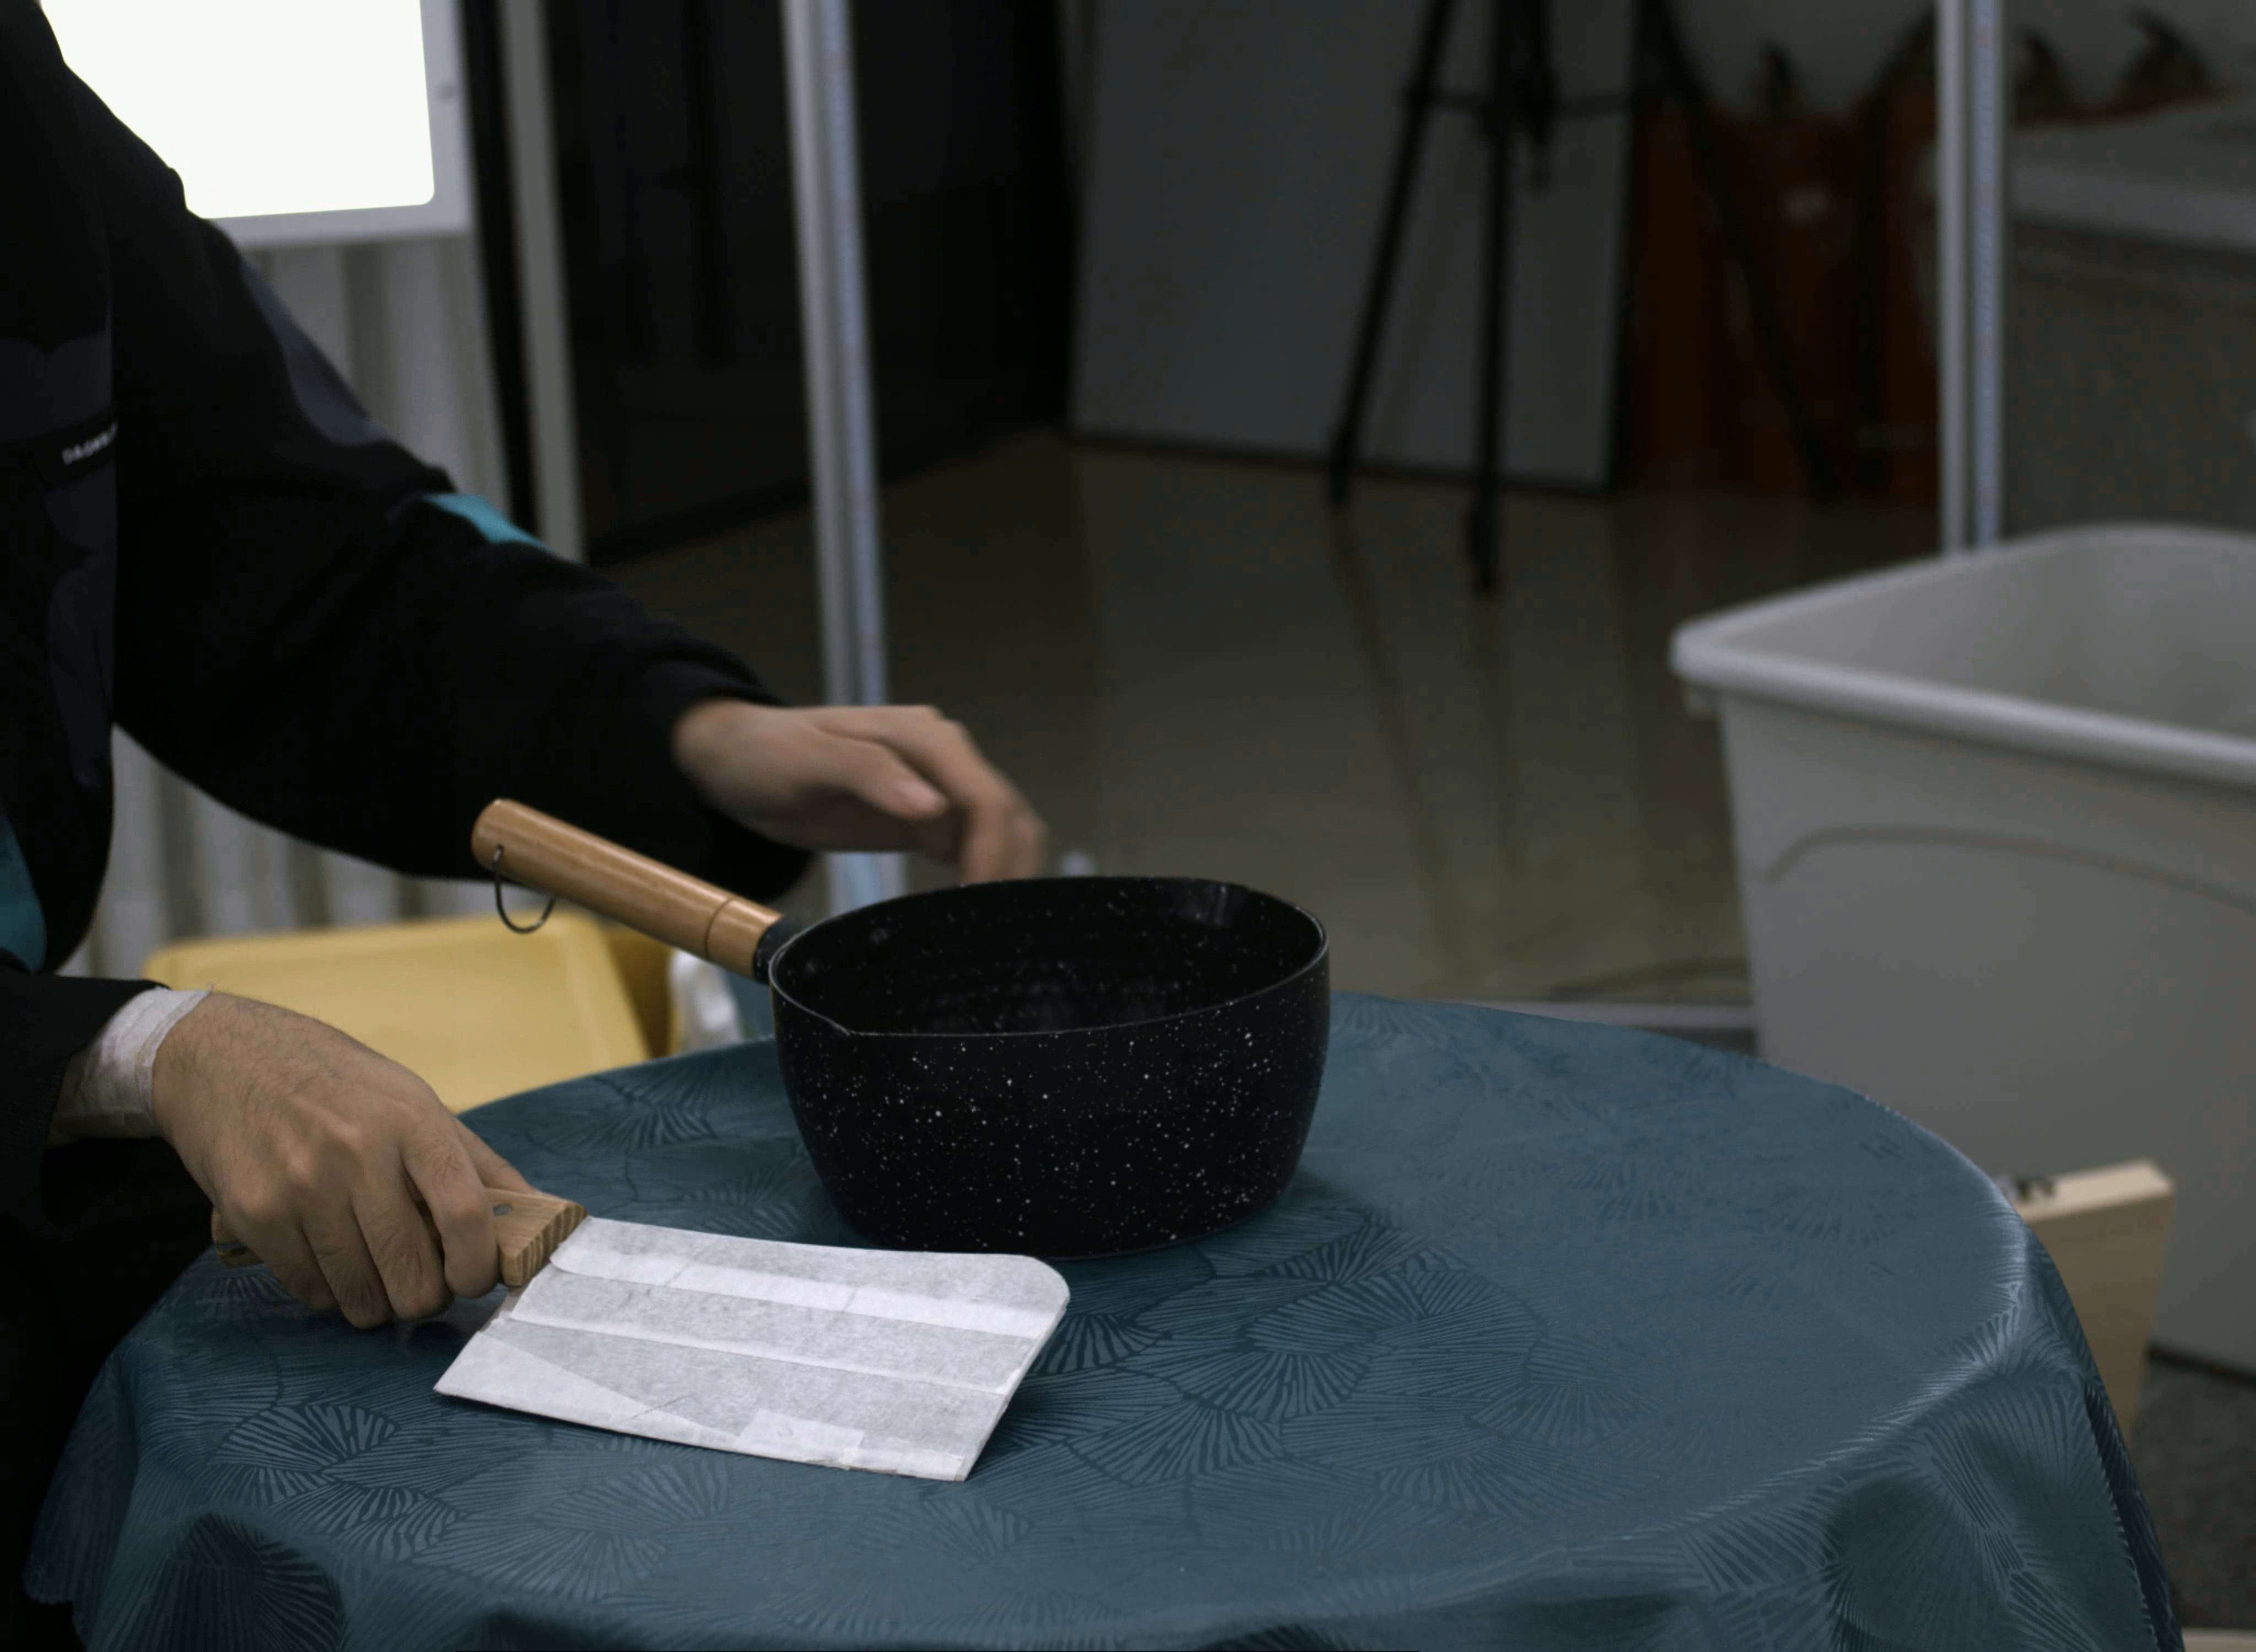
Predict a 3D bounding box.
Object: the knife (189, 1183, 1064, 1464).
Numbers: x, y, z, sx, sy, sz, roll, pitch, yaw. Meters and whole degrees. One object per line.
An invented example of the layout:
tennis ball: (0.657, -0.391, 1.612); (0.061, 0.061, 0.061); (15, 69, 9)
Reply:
knife: (-0.158, 0.144, 1.637); (0.317, 0.022, 0.113); (7, 38, 32)

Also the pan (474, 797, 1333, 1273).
pan: (-0.087, 0.062, 1.807); (0.345, 0.109, 0.204); (7, 19, 35)
